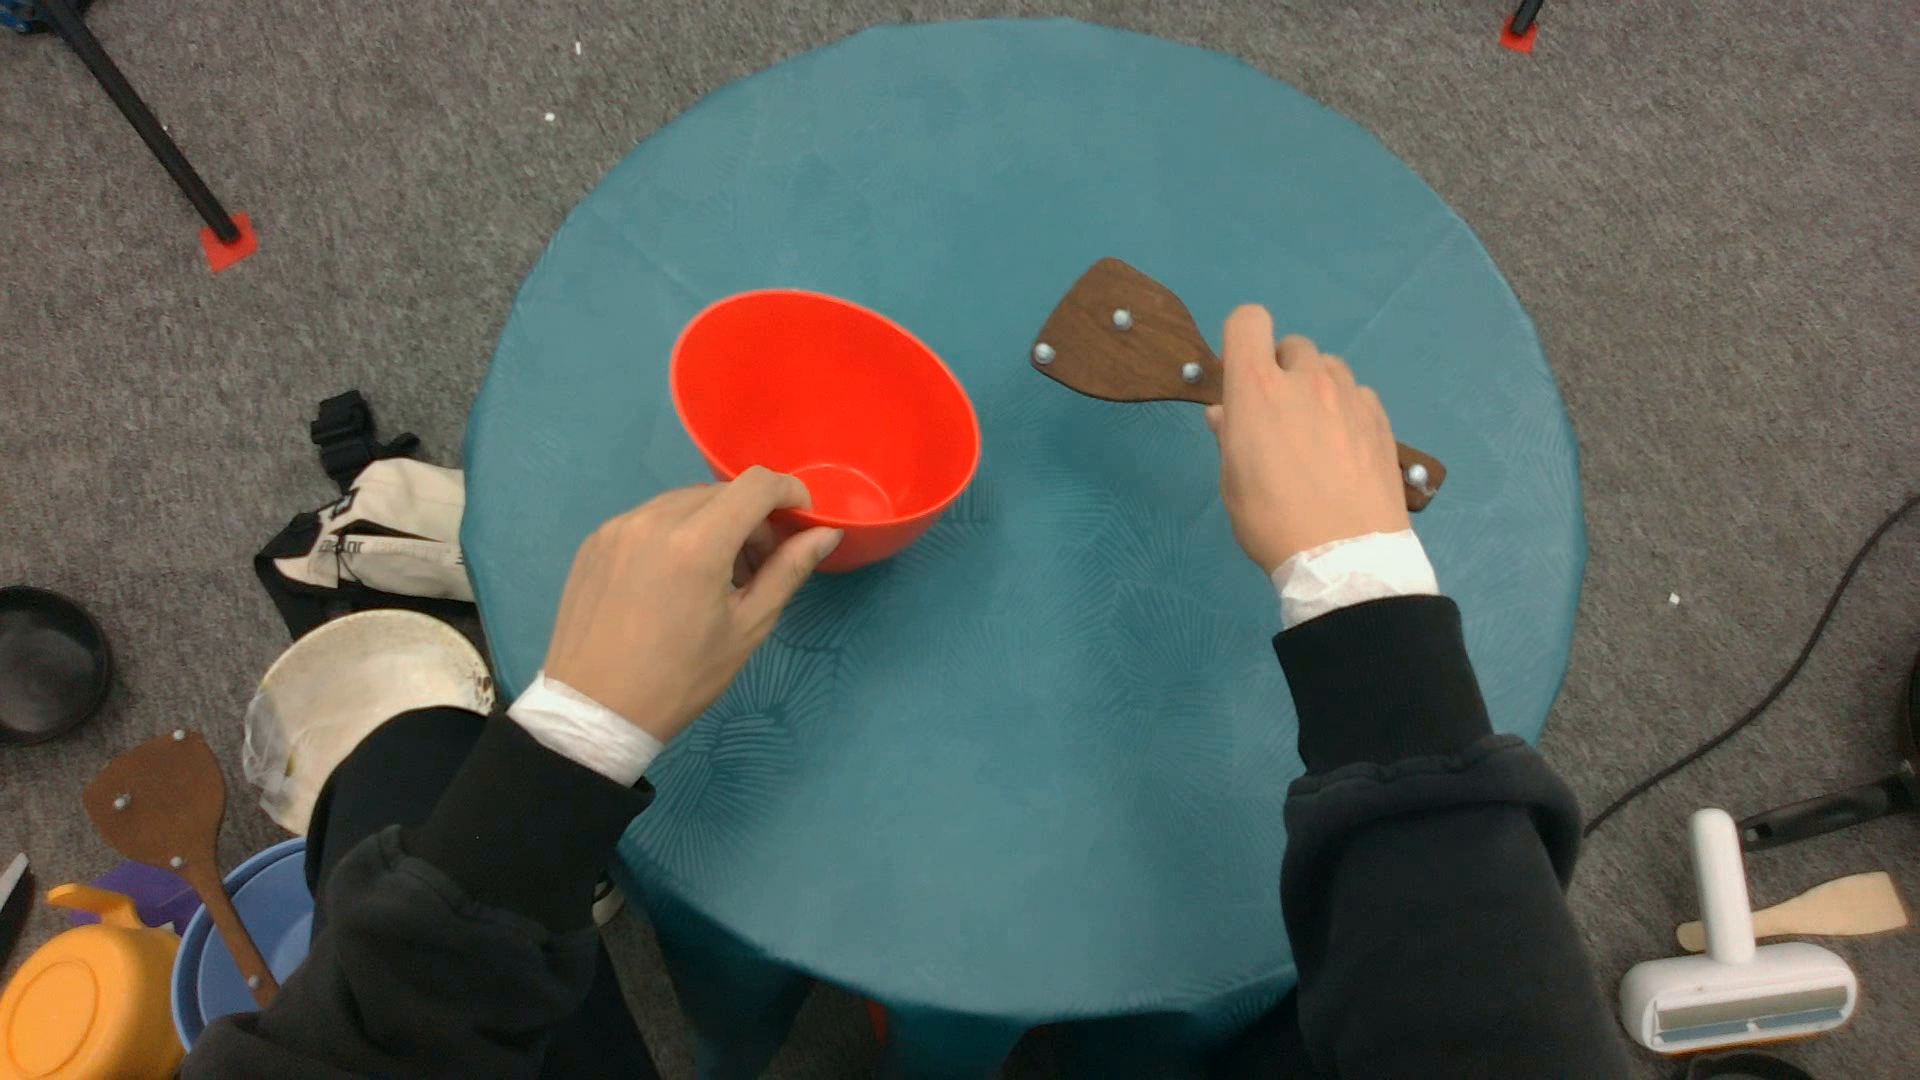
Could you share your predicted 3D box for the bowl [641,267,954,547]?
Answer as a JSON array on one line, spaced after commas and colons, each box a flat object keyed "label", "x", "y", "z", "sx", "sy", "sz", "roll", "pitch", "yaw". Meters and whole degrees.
[{"label": "bowl", "x": -0.081, "y": -0.052, "z": 0.670, "sx": 0.148, "sy": 0.104, "sz": 0.148, "roll": 8, "pitch": 51, "yaw": -10}]

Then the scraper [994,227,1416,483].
[{"label": "scraper", "x": 0.114, "y": -0.082, "z": 0.650, "sx": 0.211, "sy": 0.011, "sz": 0.076, "roll": 31, "pitch": 79, "yaw": 24}]
